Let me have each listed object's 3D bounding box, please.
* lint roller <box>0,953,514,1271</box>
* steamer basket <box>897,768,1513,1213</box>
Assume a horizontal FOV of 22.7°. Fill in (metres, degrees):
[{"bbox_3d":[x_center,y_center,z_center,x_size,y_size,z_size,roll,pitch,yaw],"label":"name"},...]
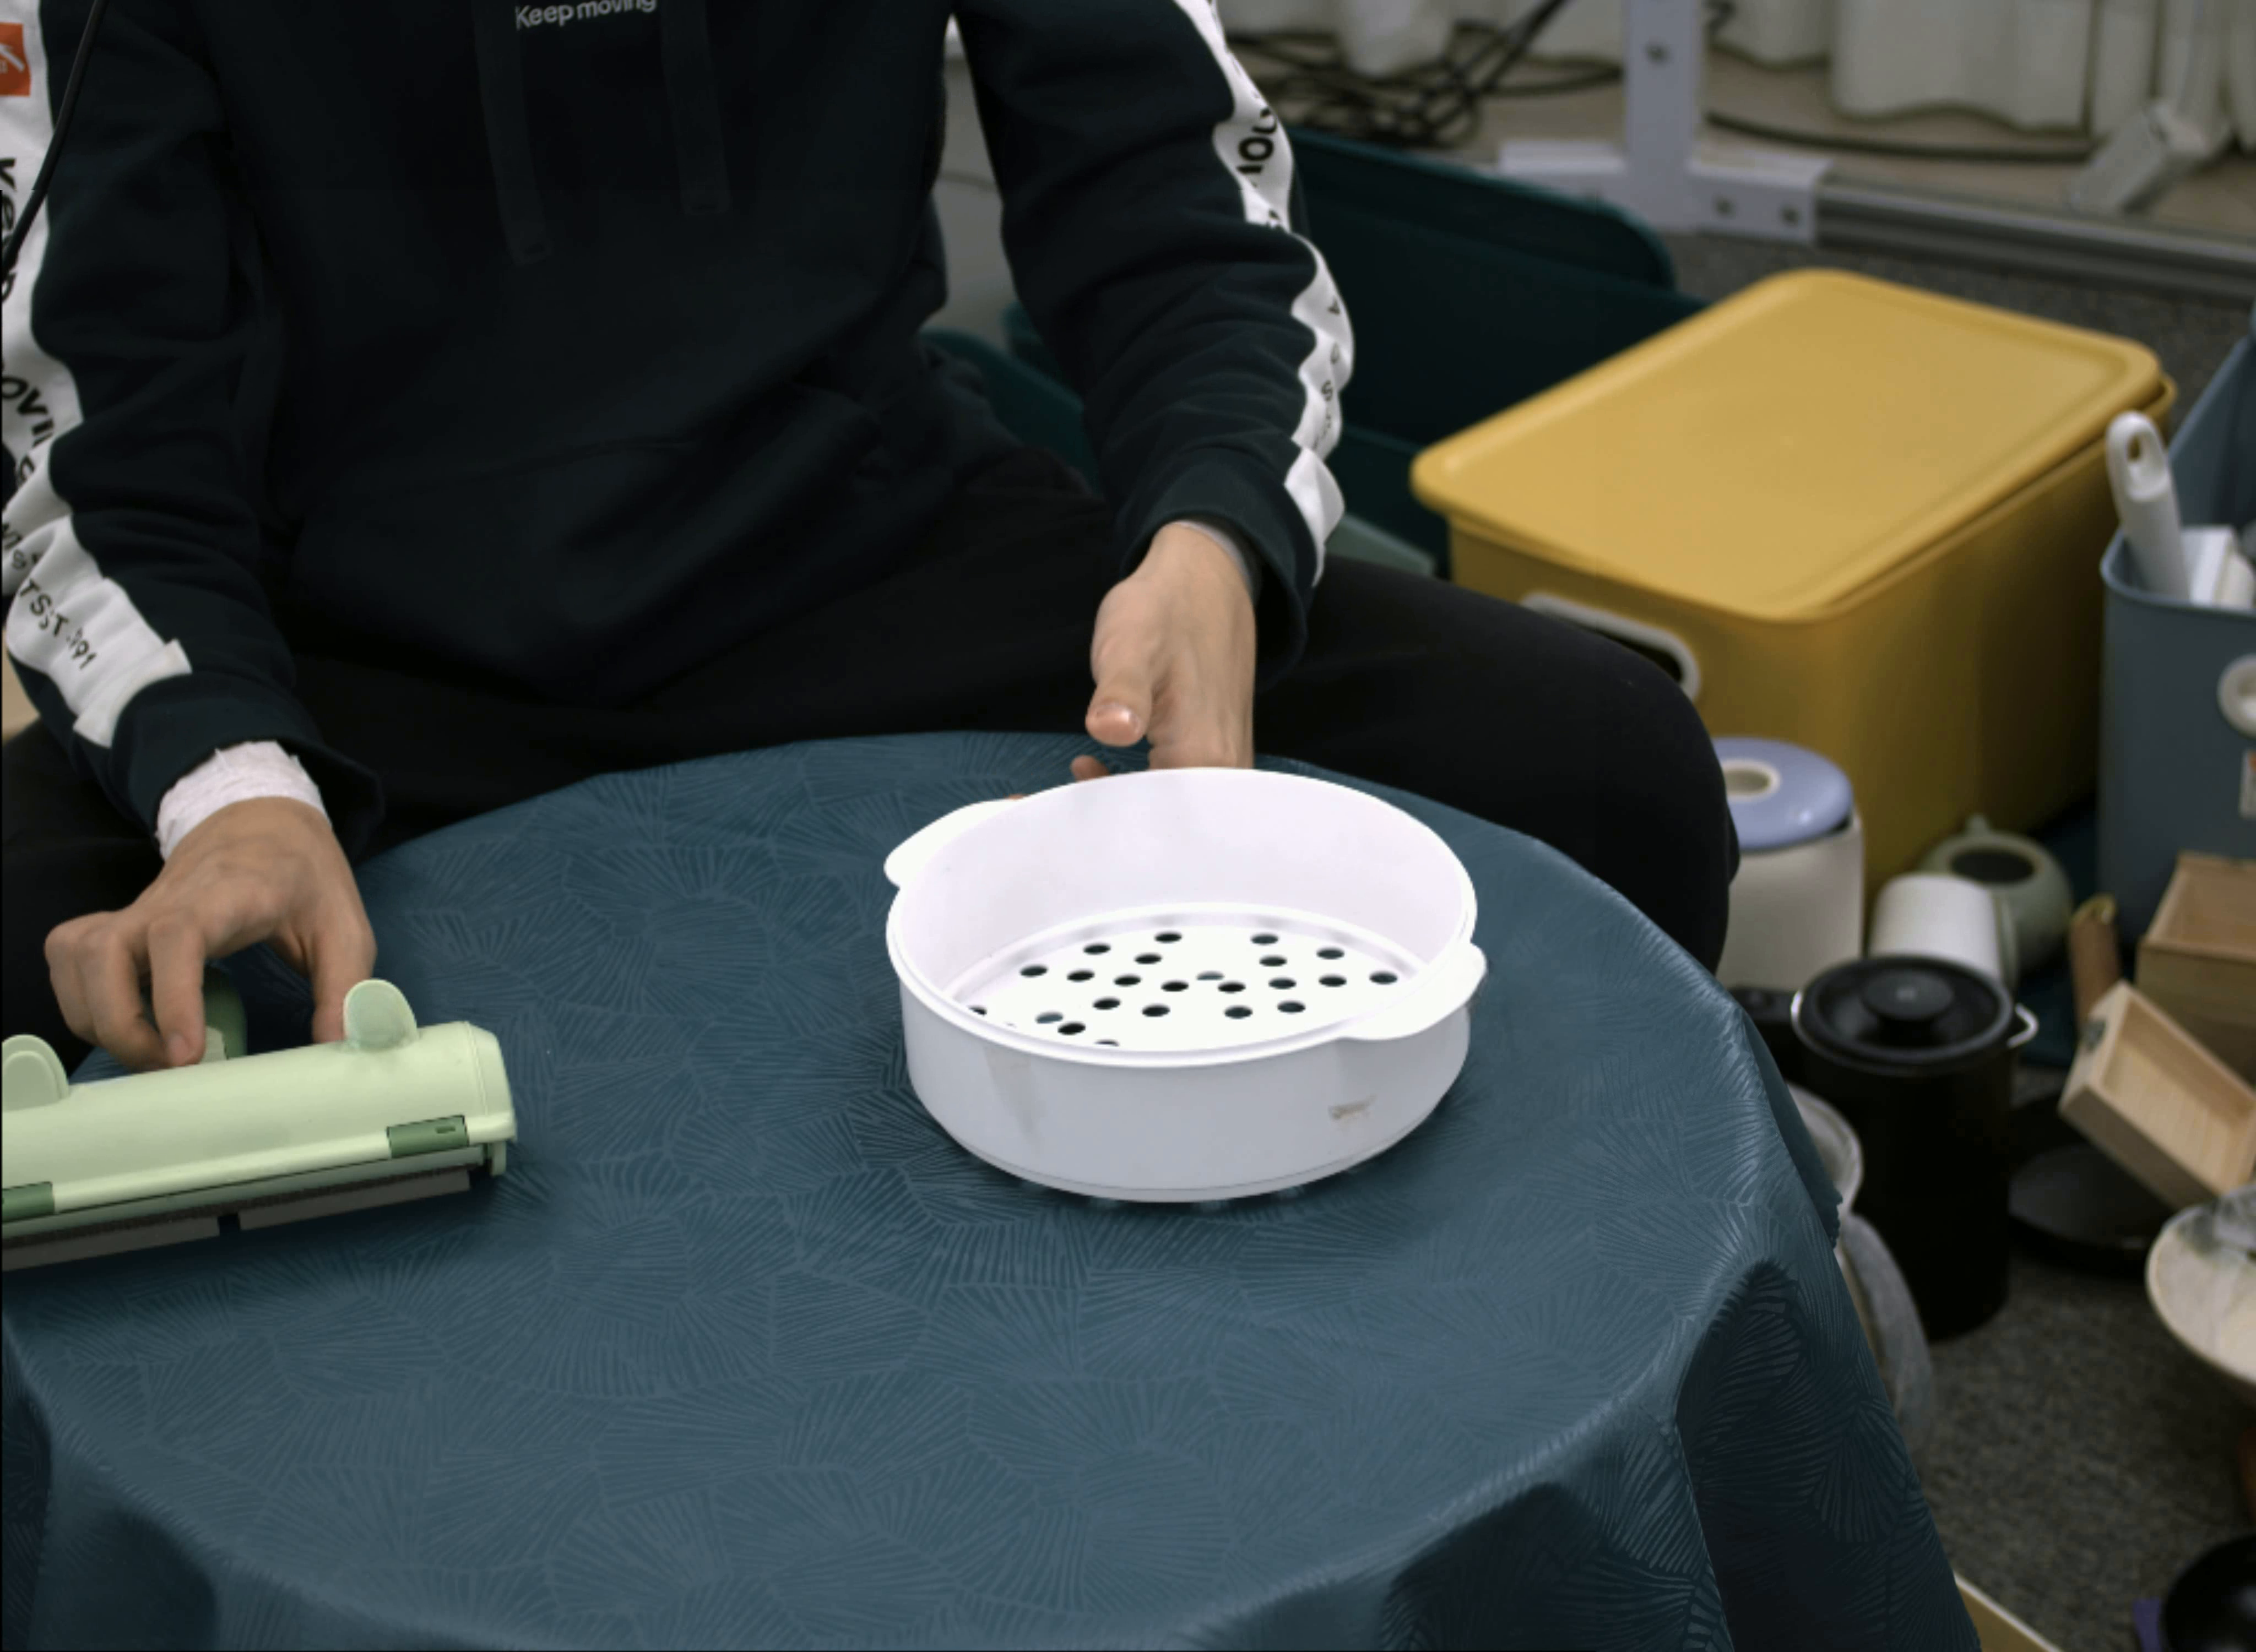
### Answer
[{"bbox_3d":[-0.316,0.072,1.903,0.198,0.081,0.185,-9,32,-11],"label":"lint roller"},{"bbox_3d":[0.025,0.056,1.910,0.230,0.068,0.205,18,35,32],"label":"steamer basket"}]
